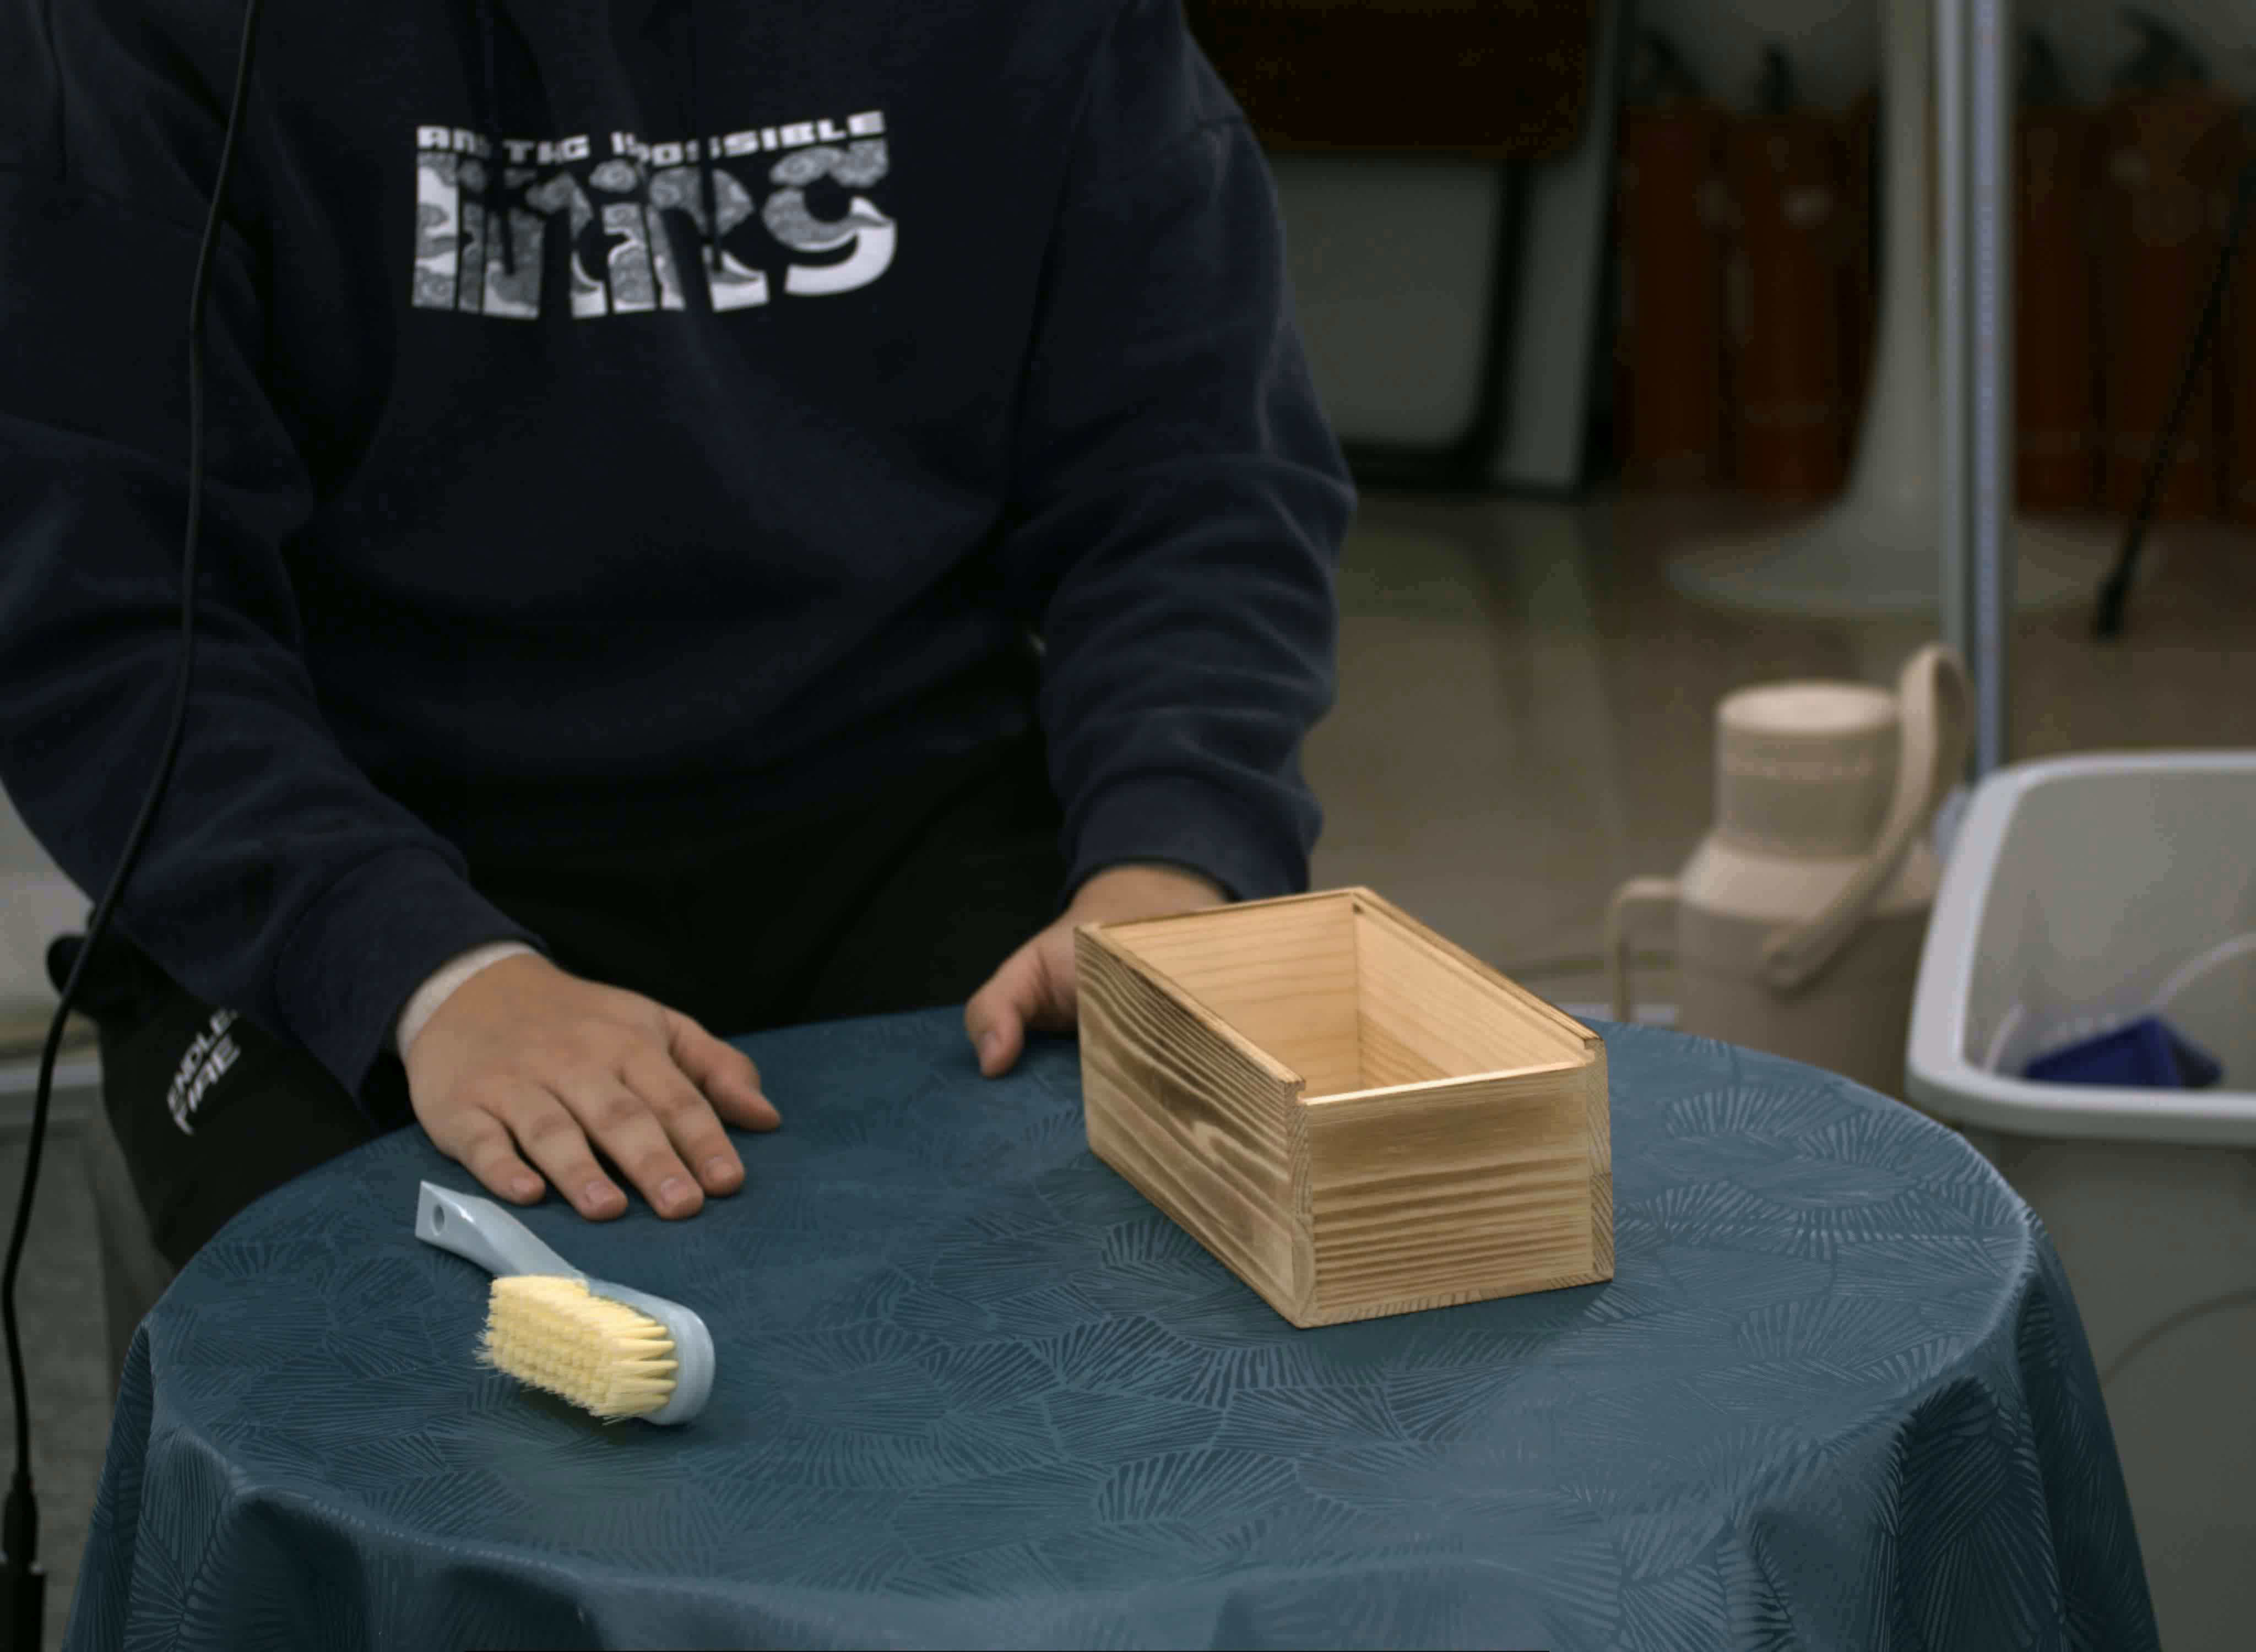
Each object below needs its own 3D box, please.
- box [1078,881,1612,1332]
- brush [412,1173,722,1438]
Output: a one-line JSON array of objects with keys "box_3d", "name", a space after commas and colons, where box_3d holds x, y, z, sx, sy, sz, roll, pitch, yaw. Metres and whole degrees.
[{"box_3d": [0.066, 0.086, 1.729, 0.105, 0.081, 0.213, -8, 15, -17], "name": "box"}, {"box_3d": [-0.186, 0.142, 1.661, 0.048, 0.038, 0.231, -2, 12, -25], "name": "brush"}]
